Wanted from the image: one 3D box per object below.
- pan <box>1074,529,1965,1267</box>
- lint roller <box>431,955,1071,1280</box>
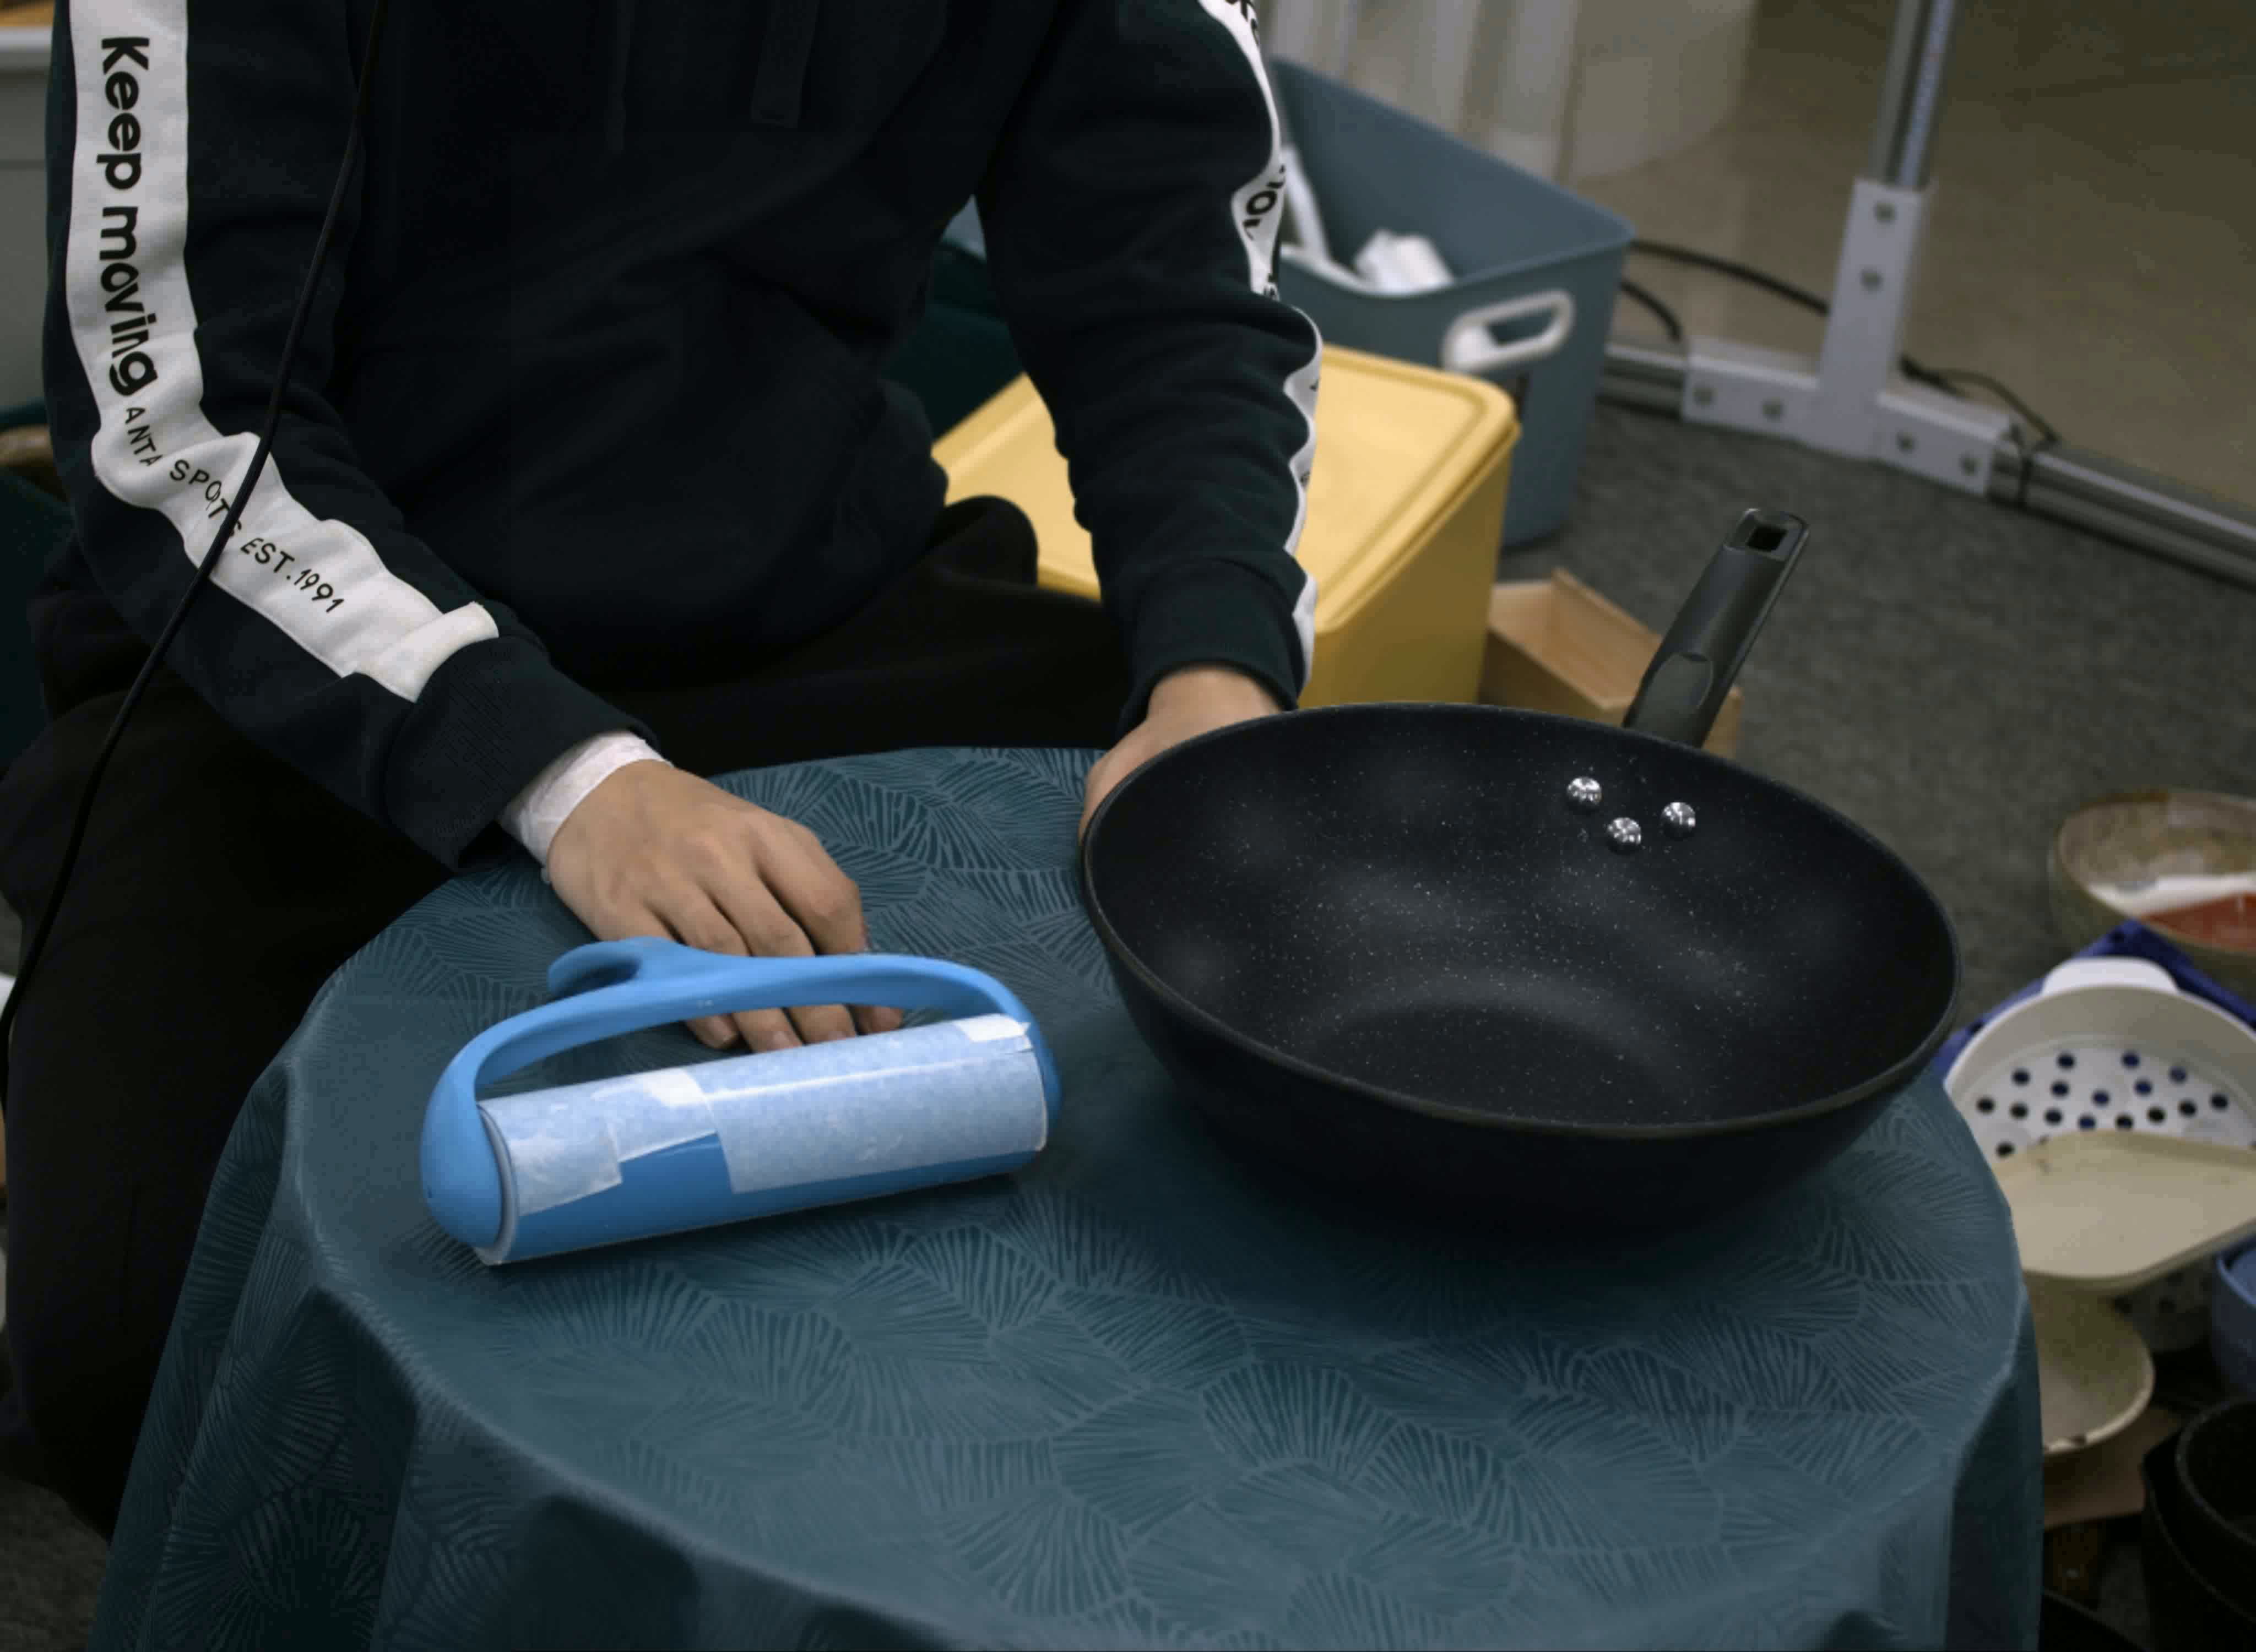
[{"bbox_3d":[0.161,0.025,1.912,0.311,0.111,0.477,16,29,16],"label":"pan"},{"bbox_3d":[-0.152,0.078,1.795,0.227,0.067,0.182,-13,32,-29],"label":"lint roller"}]
